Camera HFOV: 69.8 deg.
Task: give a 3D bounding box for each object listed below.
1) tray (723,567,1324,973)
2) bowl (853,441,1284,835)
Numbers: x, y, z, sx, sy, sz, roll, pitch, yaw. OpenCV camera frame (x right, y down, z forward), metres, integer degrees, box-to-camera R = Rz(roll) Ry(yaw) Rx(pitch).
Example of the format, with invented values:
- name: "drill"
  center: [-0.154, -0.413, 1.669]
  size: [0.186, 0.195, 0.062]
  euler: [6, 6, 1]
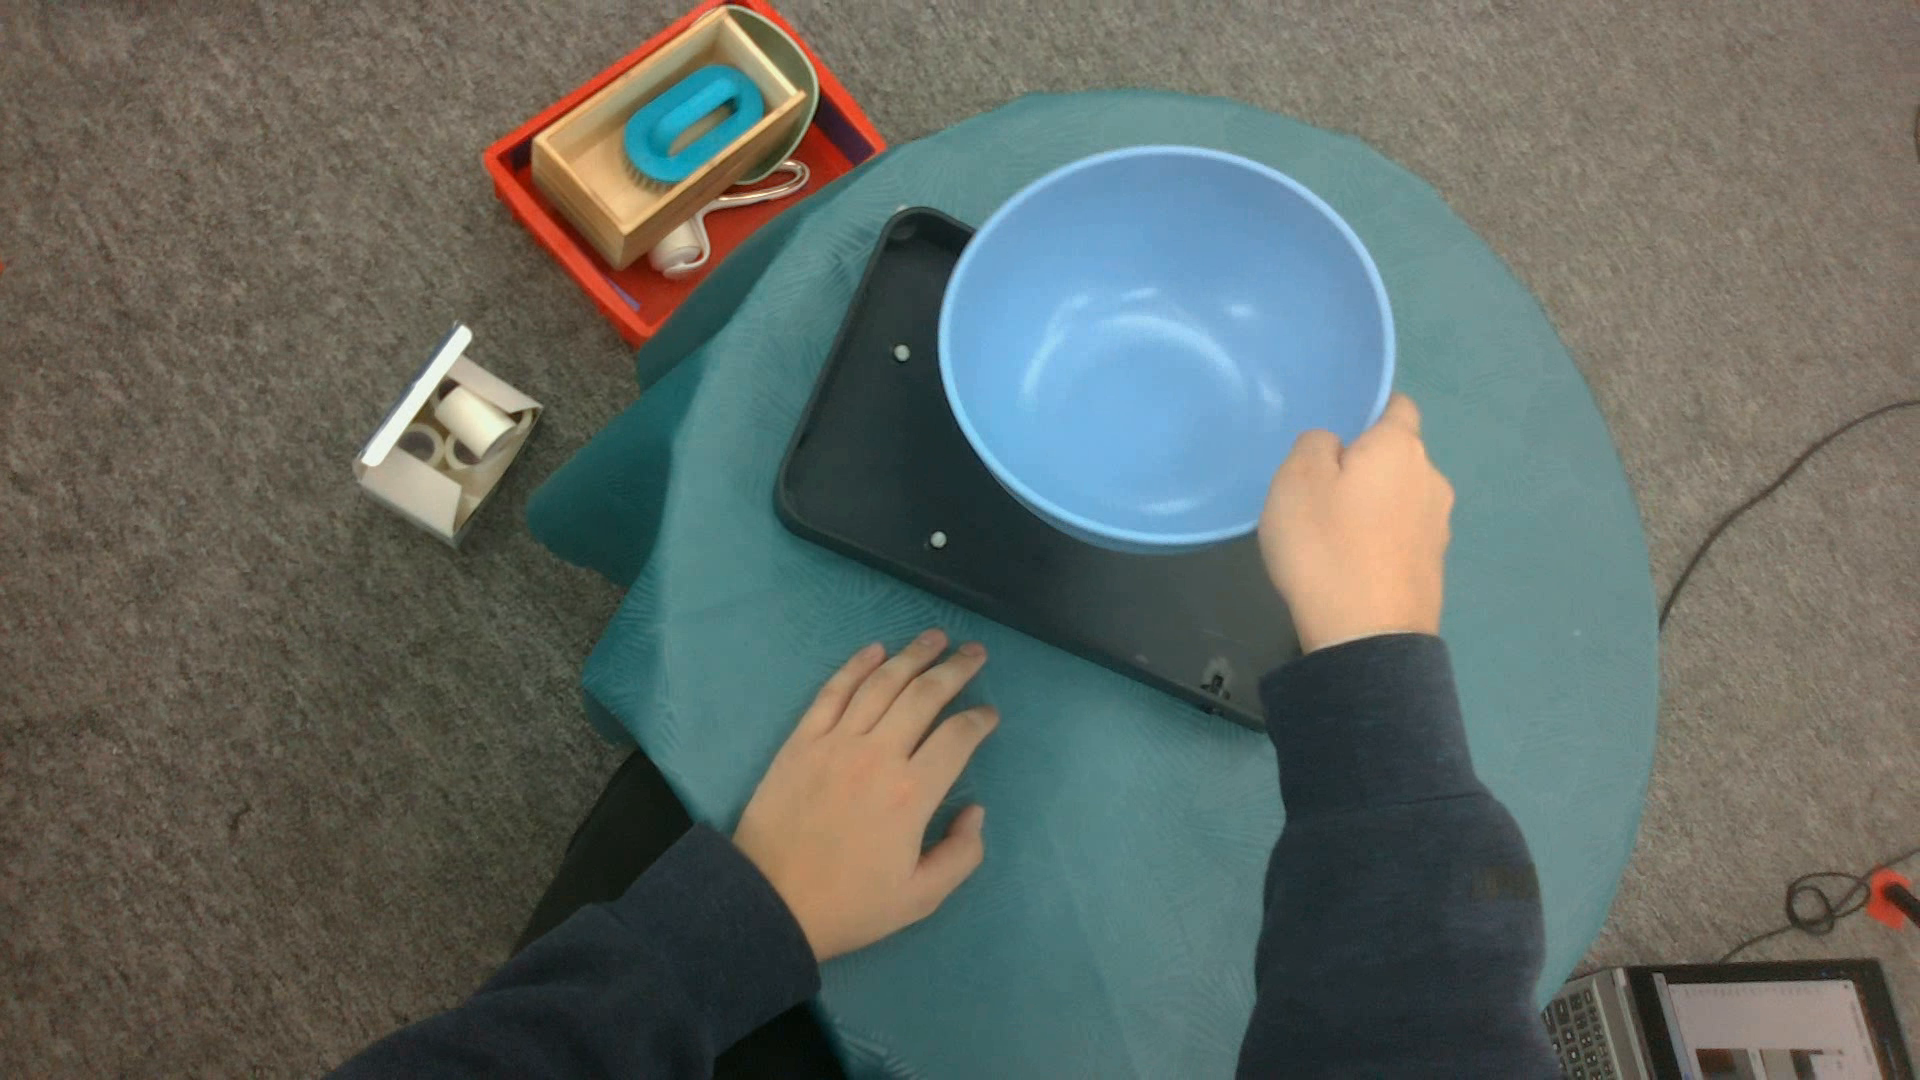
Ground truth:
- name: "tray"
  center: [0.039, 0.126, 0.748]
  size: [0.318, 0.037, 0.185]
  euler: [11, 59, -10]
- name: "bowl"
  center: [0.053, 0.059, 0.667]
  size: [0.196, 0.095, 0.197]
  euler: [-3, 59, 5]
